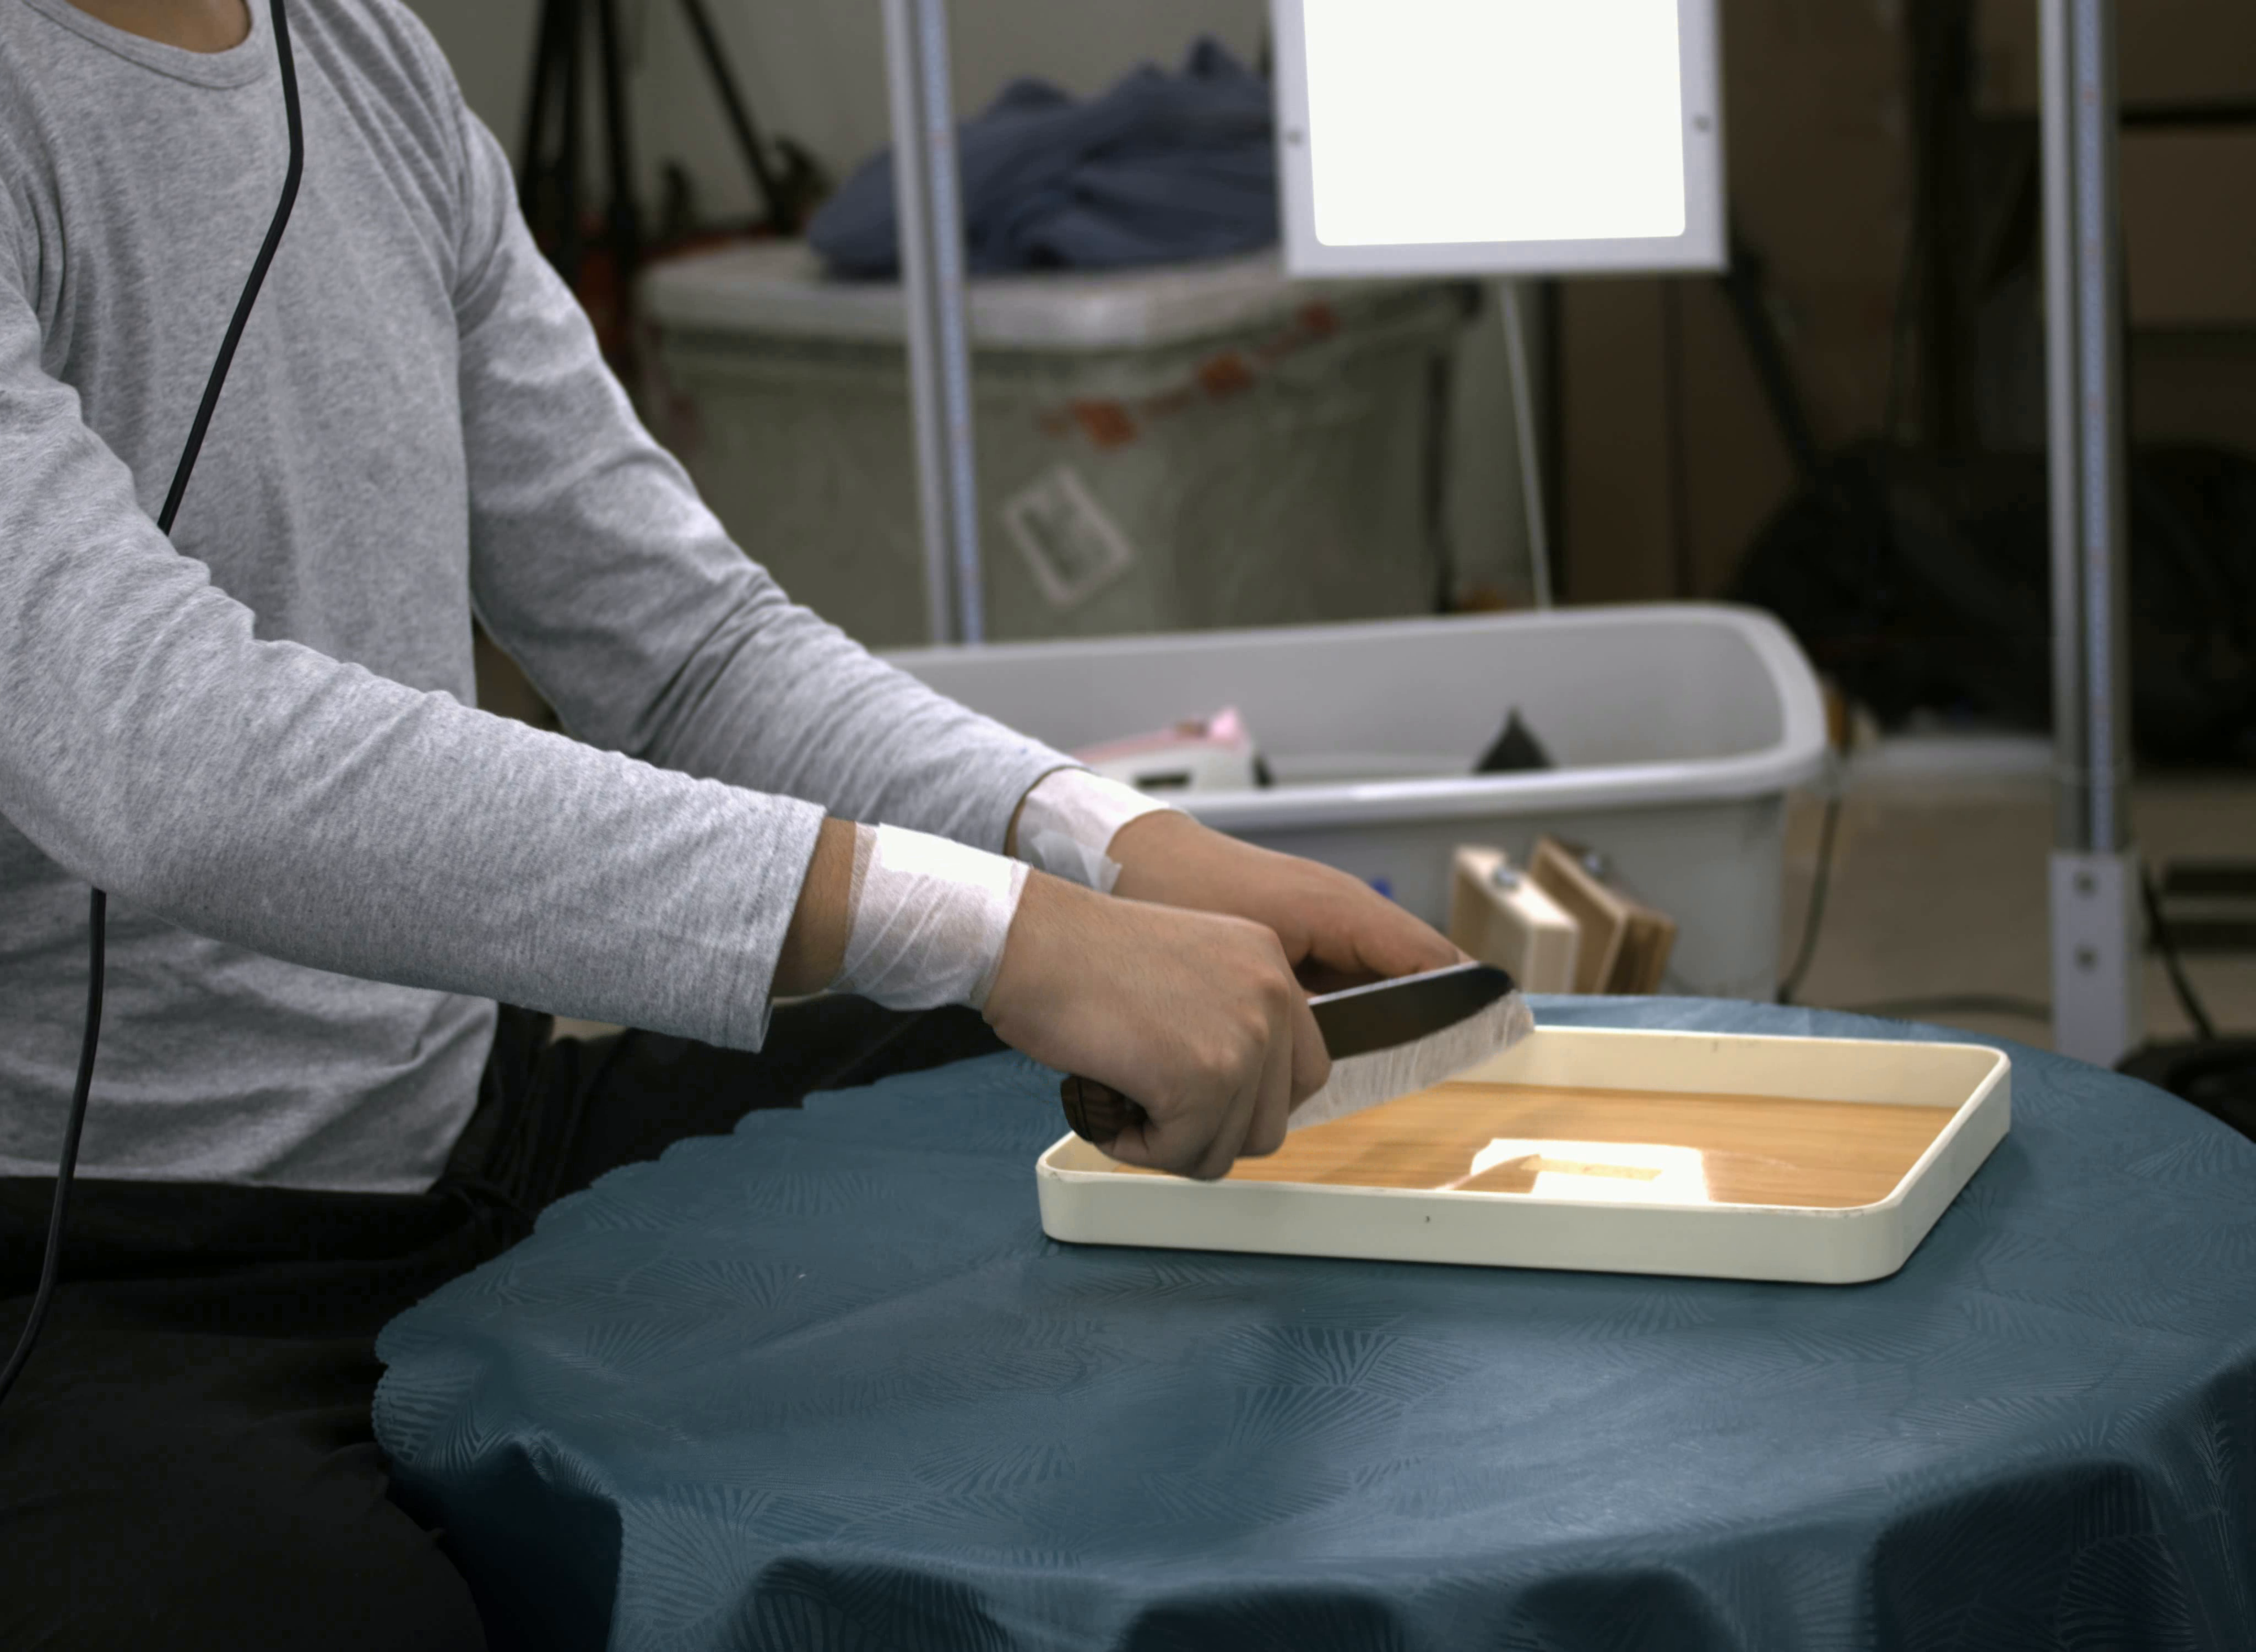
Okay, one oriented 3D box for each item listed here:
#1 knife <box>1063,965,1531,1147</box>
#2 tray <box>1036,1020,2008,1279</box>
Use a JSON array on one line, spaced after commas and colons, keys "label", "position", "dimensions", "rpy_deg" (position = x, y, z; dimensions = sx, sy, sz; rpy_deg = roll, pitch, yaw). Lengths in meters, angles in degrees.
[{"label": "knife", "position": [0.064, 0.079, 1.837], "dimensions": [0.020, 0.050, 0.282], "rpy_deg": [14, 11, 33]}, {"label": "tray", "position": [0.137, 0.108, 1.873], "dimensions": [0.305, 0.027, 0.188], "rpy_deg": [1, 15, 25]}]
